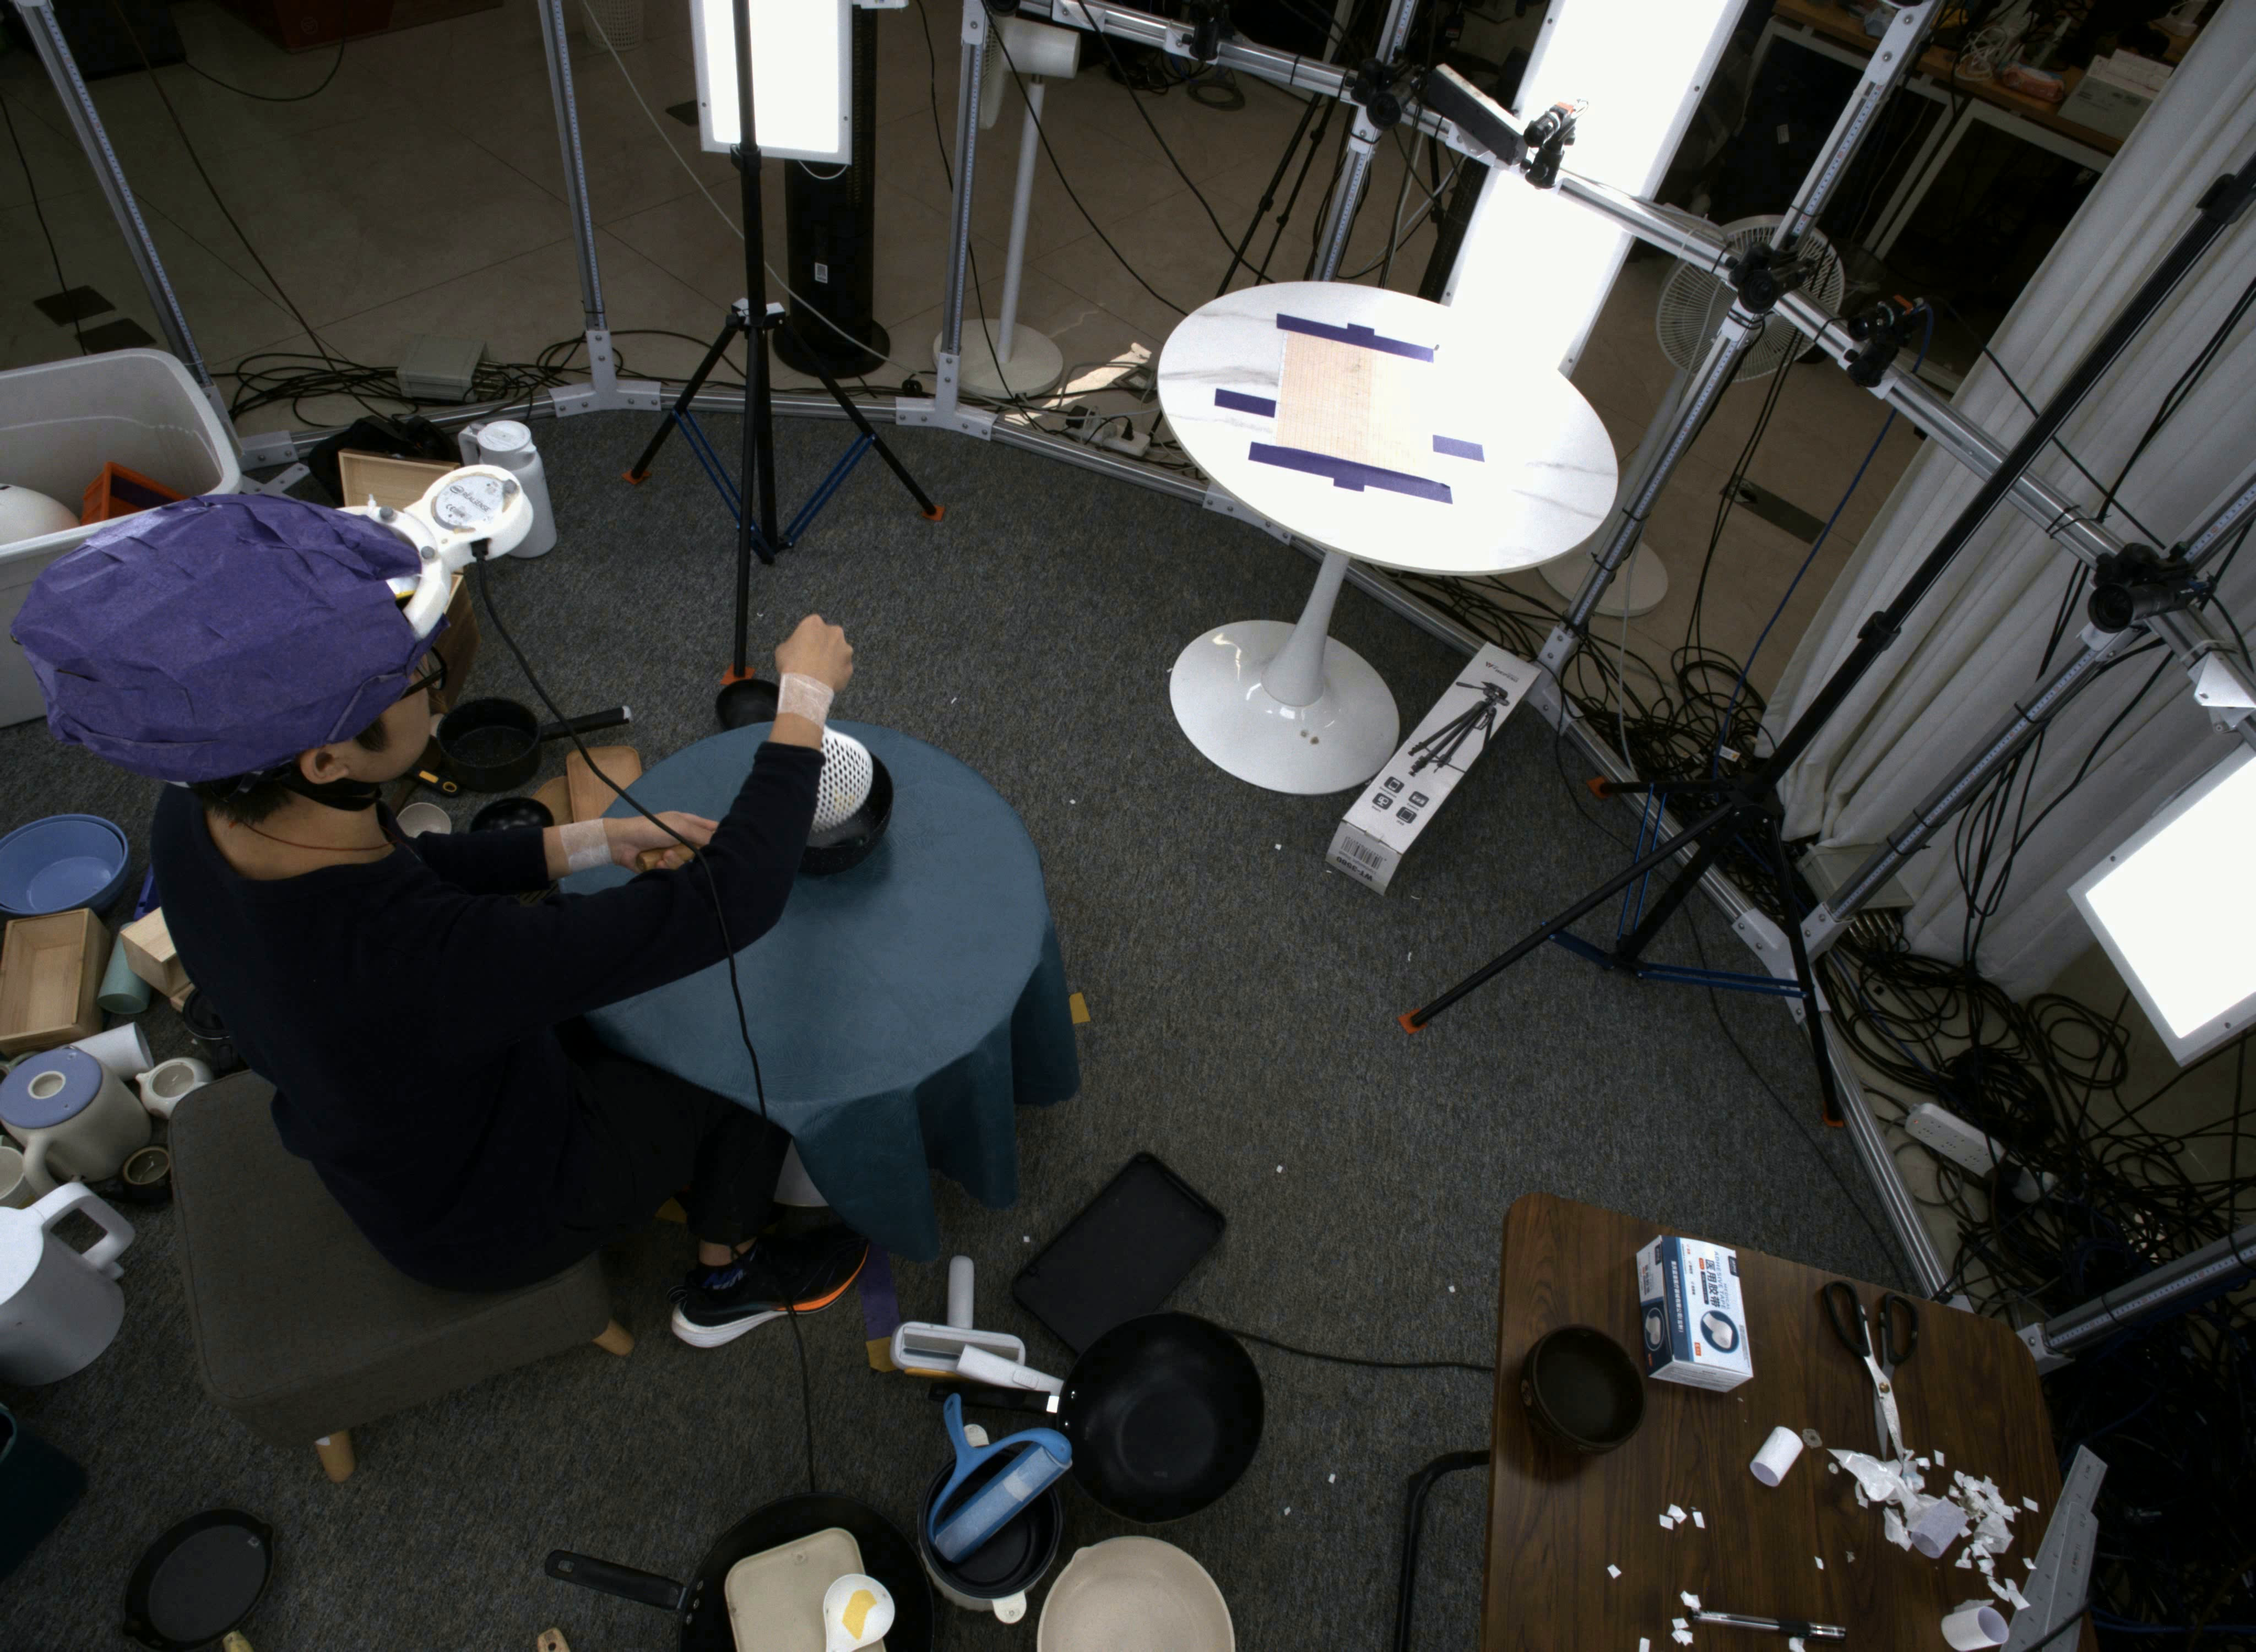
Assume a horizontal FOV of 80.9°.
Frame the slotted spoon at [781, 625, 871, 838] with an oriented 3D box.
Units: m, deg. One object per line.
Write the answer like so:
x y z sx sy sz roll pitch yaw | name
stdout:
-0.369 -0.108 1.553 0.137 0.358 0.049 -37 59 -27 | slotted spoon

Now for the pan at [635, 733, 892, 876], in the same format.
-0.457 0.003 1.629 0.344 0.110 0.203 -29 67 -34 | pan
